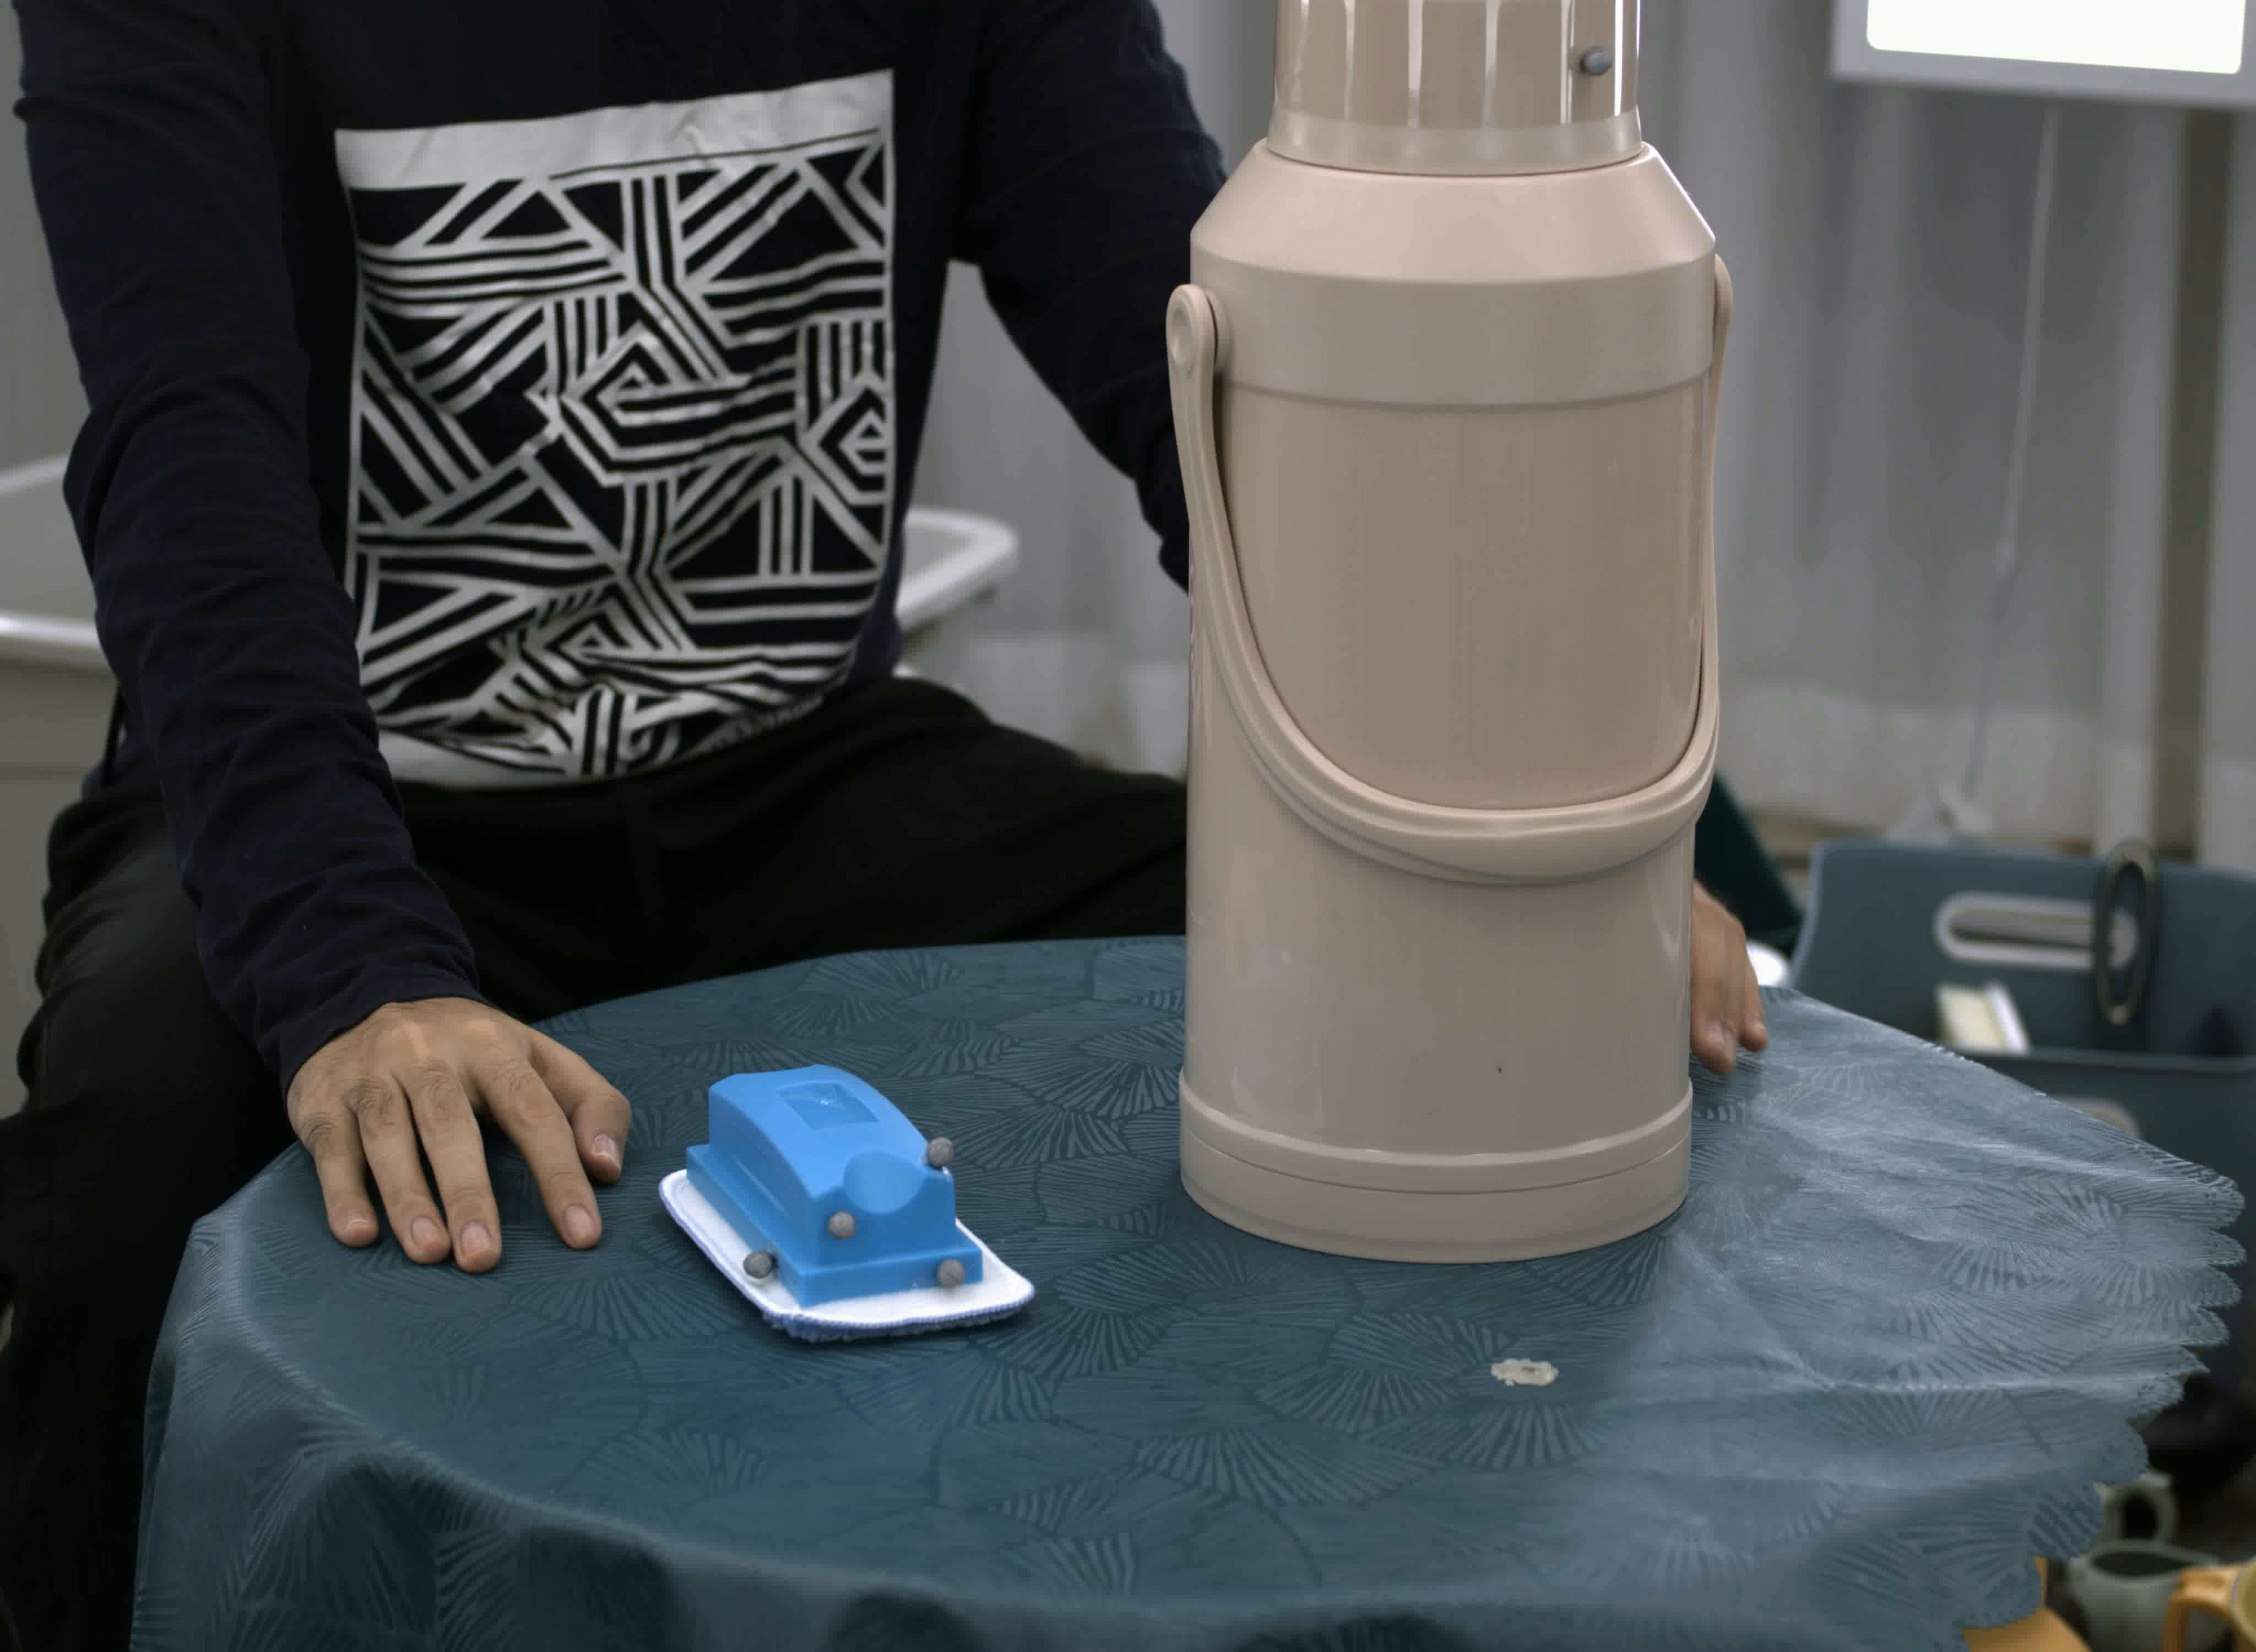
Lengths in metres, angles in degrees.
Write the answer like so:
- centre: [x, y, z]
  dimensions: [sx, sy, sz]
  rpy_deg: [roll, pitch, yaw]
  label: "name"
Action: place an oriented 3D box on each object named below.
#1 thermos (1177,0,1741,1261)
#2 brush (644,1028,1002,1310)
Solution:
- centre: [0.096, -0.085, 1.597]
  dimensions: [0.176, 0.410, 0.204]
  rpy_deg: [-8, 17, -22]
  label: "thermos"
- centre: [-0.089, 0.099, 1.556]
  dimensions: [0.084, 0.056, 0.142]
  rpy_deg: [-2, 18, -19]
  label: "brush"
